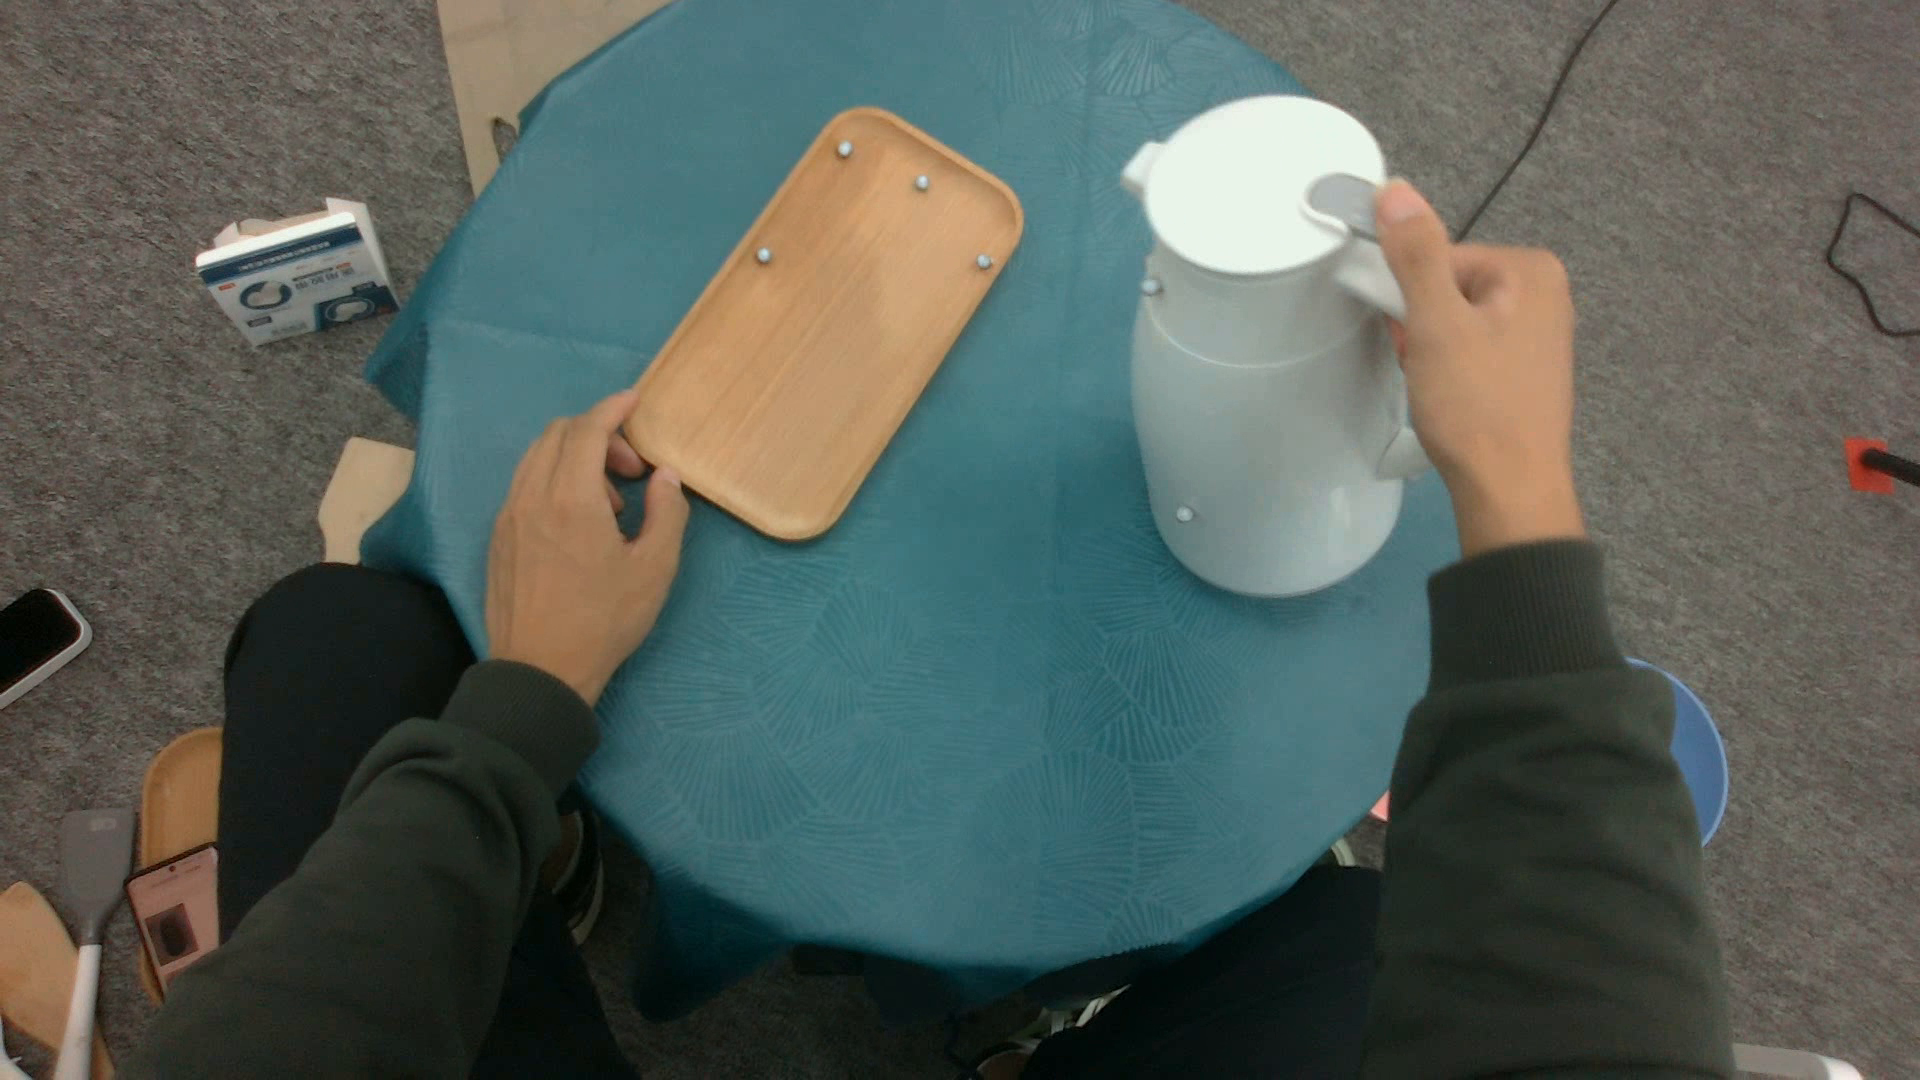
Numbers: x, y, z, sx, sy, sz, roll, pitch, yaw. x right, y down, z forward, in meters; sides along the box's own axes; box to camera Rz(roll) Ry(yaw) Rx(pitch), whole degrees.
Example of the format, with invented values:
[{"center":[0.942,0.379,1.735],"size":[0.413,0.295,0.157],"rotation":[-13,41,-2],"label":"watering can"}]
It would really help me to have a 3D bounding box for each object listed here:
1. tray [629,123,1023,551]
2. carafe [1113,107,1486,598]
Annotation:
[{"center":[-0.070,-0.117,0.768],"size":[0.130,0.023,0.251],"rotation":[31,72,3],"label":"tray"},{"center":[0.160,-0.079,0.645],"size":[0.167,0.248,0.133],"rotation":[26,70,26],"label":"carafe"}]
